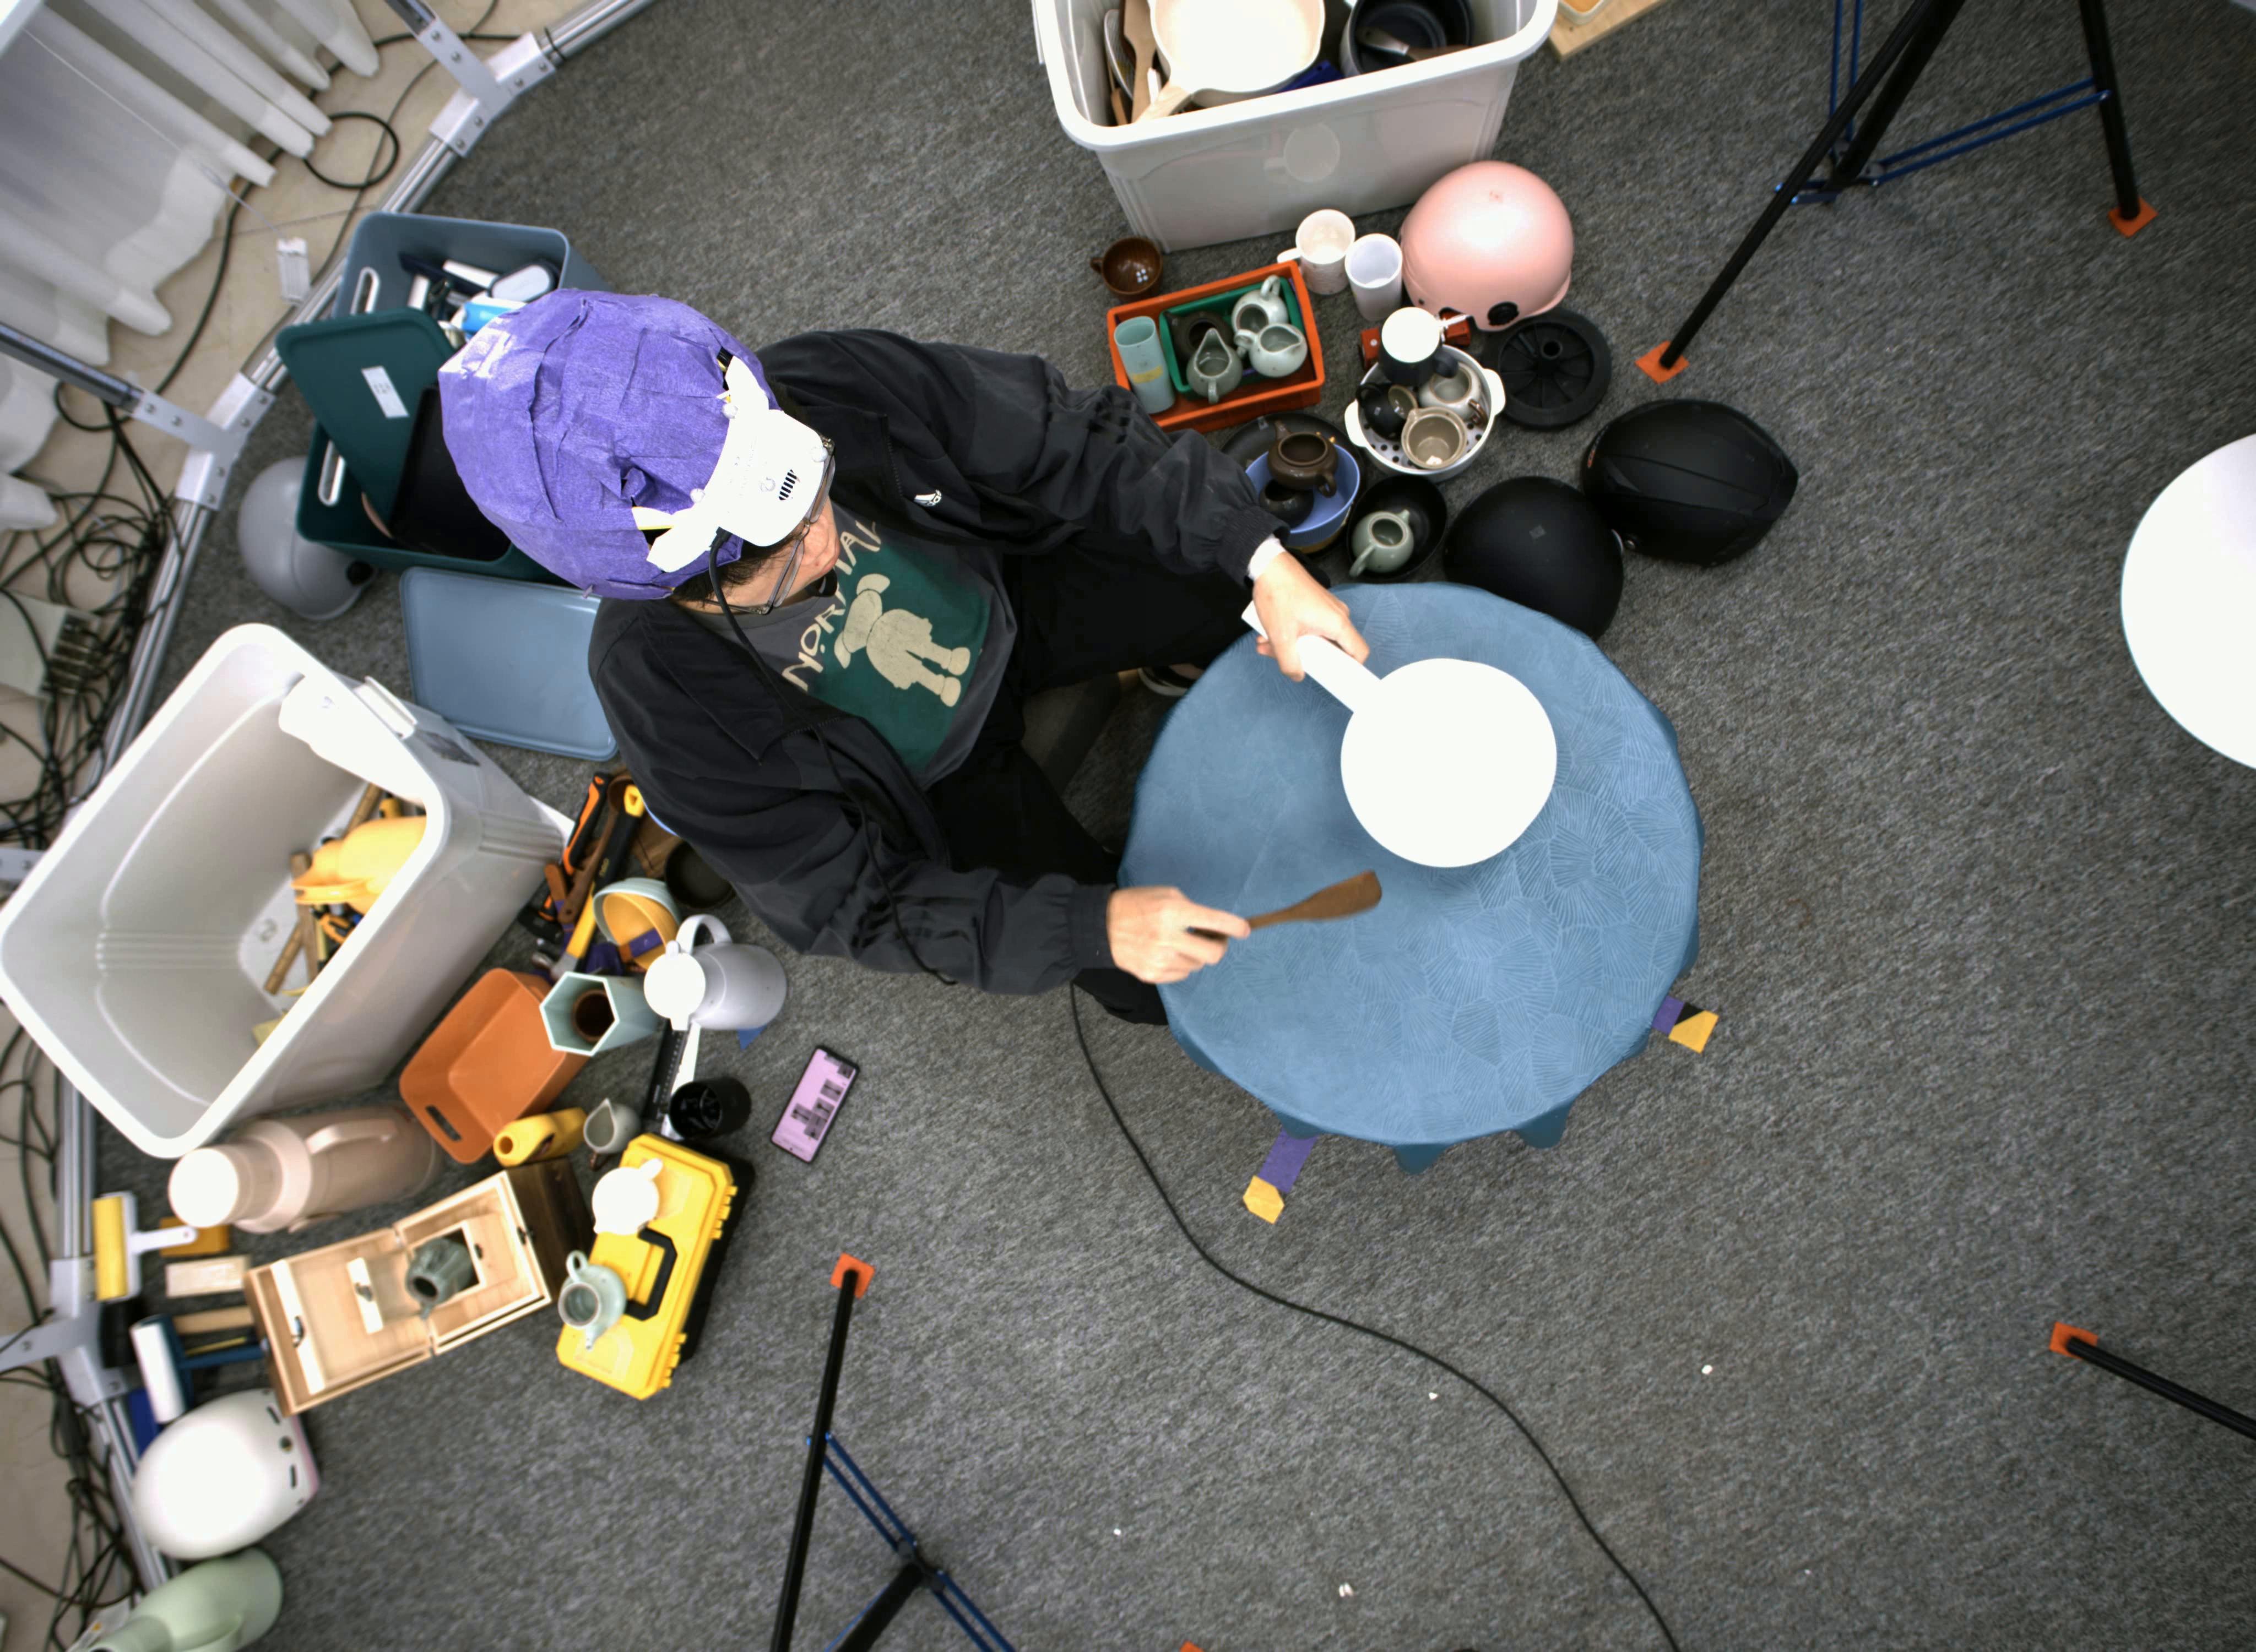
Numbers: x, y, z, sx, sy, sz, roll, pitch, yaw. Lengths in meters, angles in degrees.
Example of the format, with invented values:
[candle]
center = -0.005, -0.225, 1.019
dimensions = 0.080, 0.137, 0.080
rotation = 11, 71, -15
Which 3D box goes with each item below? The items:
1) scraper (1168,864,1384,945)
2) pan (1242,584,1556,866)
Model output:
[scraper]
center = 0.139, 0.079, 1.306
dimensions = 0.213, 0.077, 0.010
rotation = -17, 63, 14
[pan]
center = 0.267, -0.118, 1.380
dimensions = 0.352, 0.100, 0.205
rotation = 43, 117, 15
